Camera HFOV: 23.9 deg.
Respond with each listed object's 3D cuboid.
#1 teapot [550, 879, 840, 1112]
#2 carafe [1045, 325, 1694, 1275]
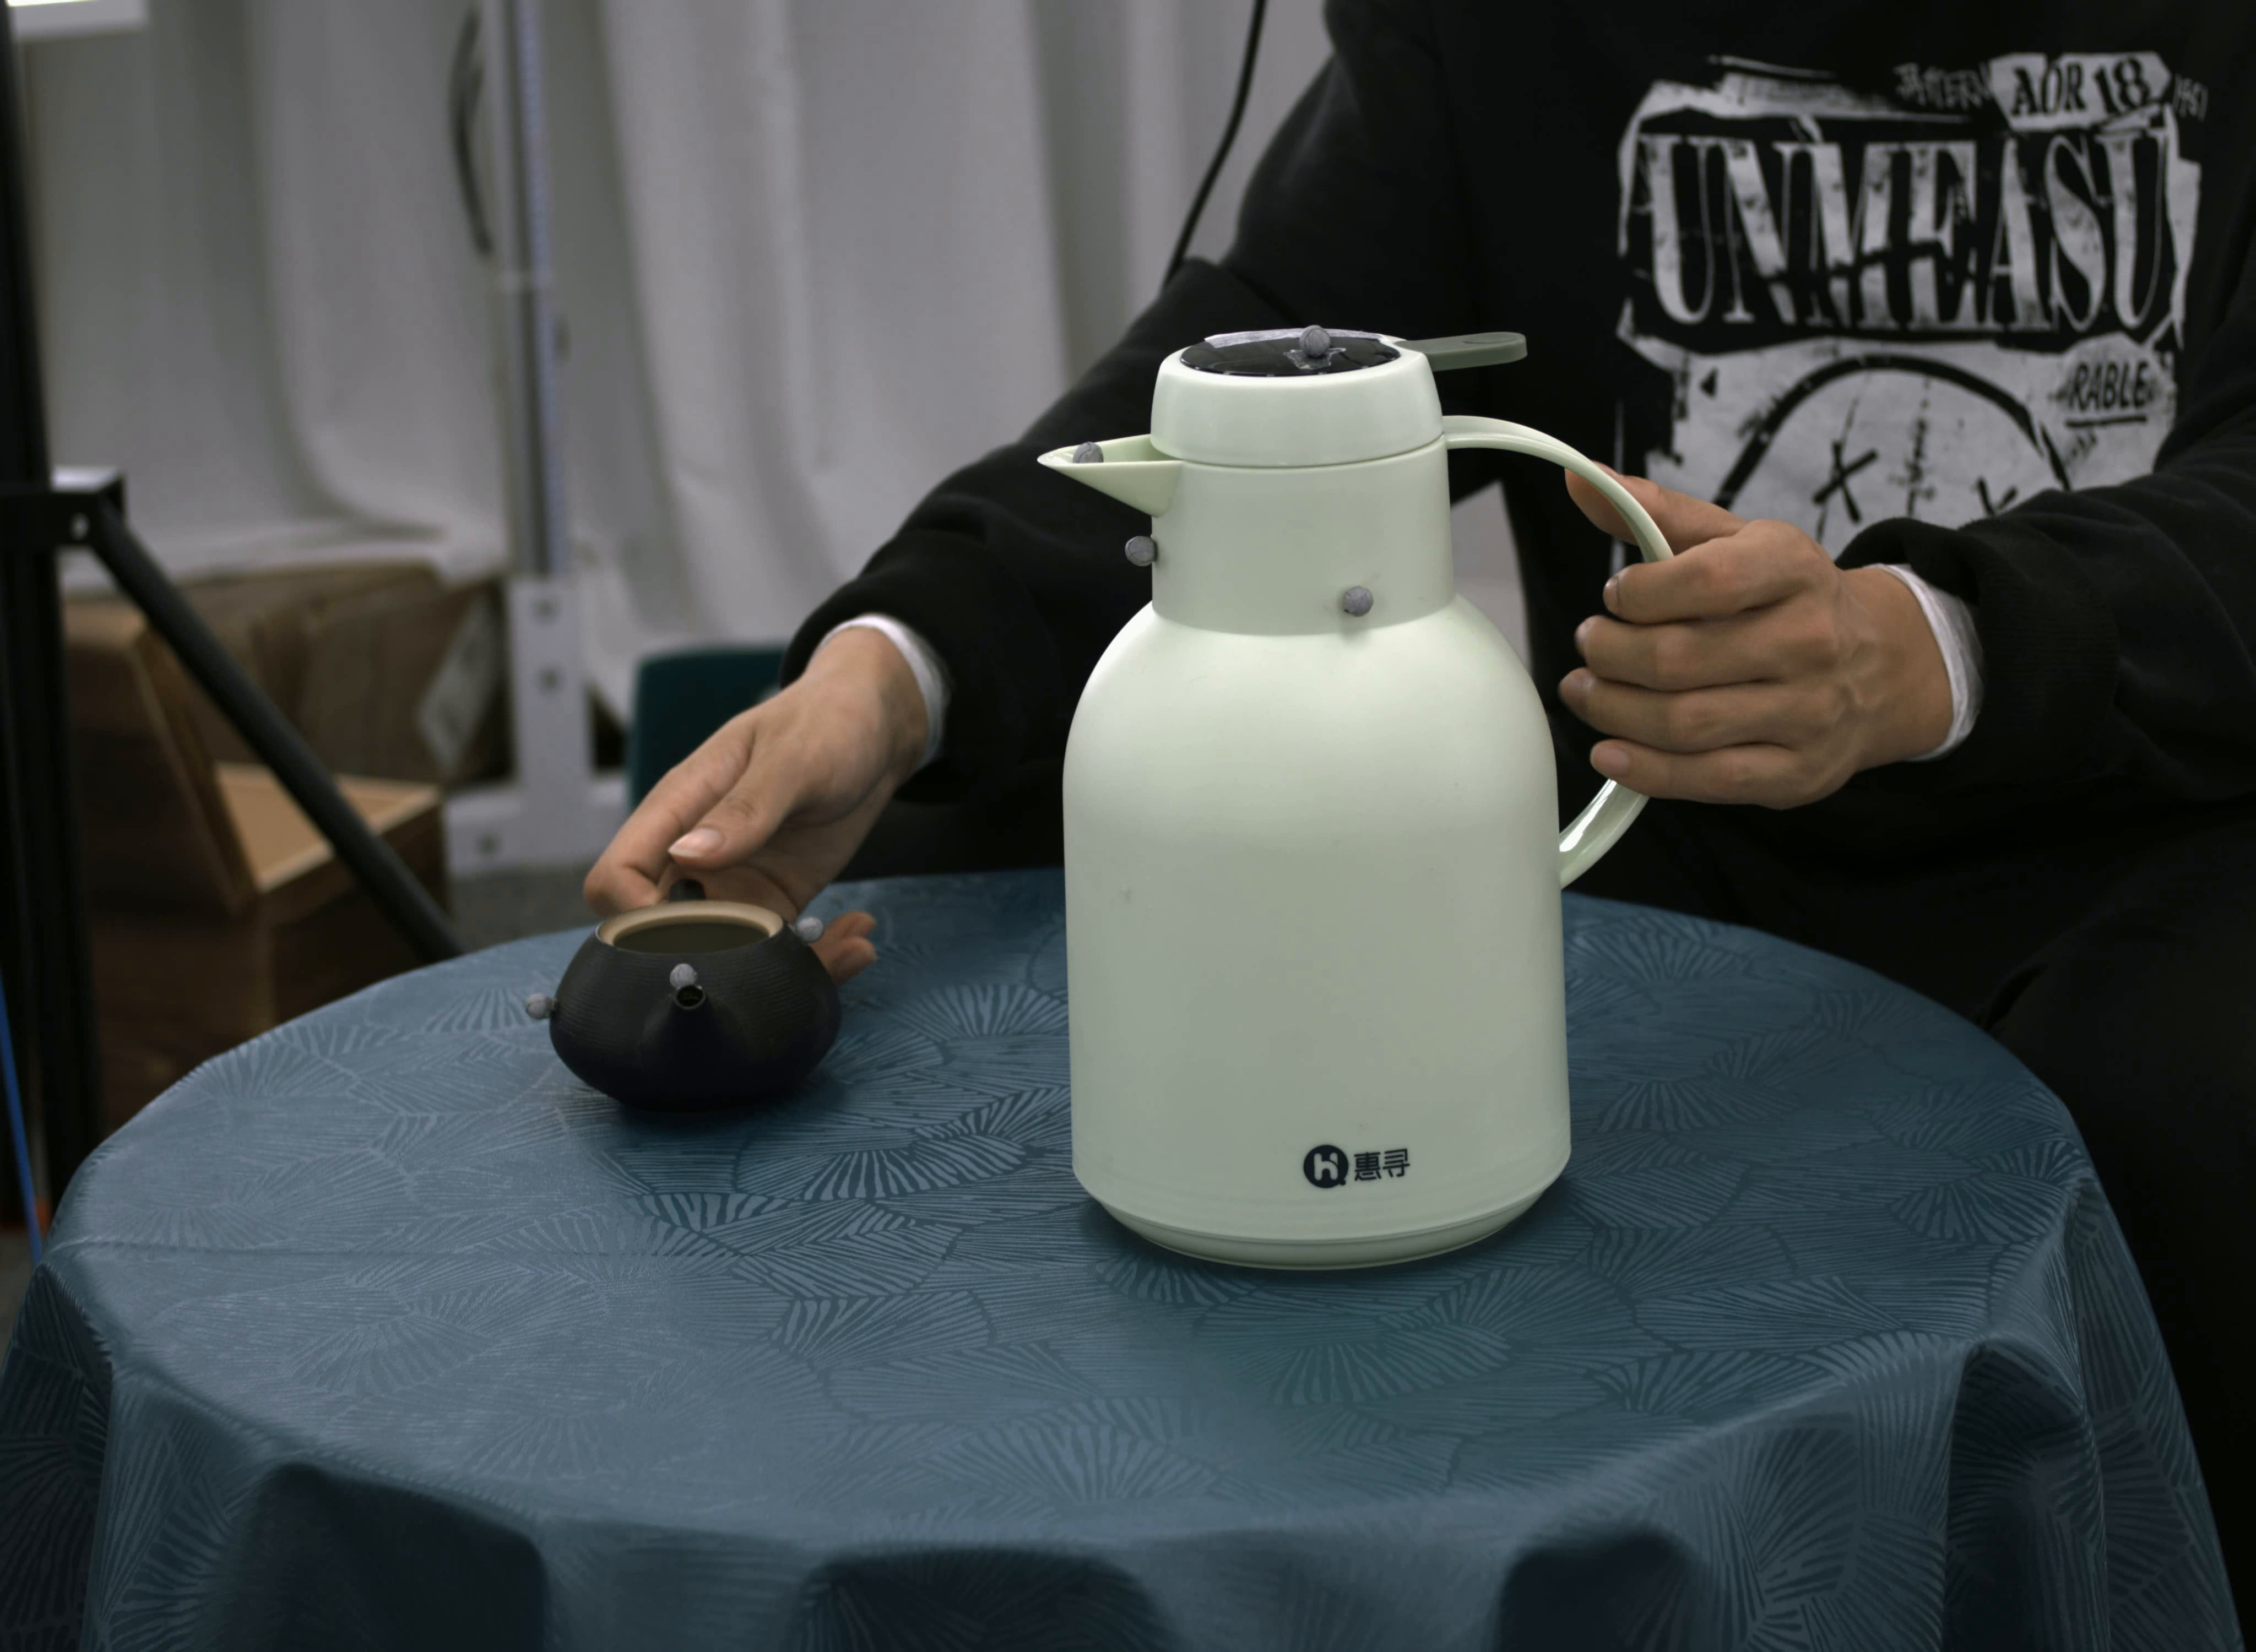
[{"bbox_3d":[-0.135,0.056,1.662,0.090,0.053,0.134,-2,16,-4],"label":"teapot"},{"bbox_3d":[0.066,-0.012,1.509,0.184,0.257,0.146,-1,13,-9],"label":"carafe"}]
